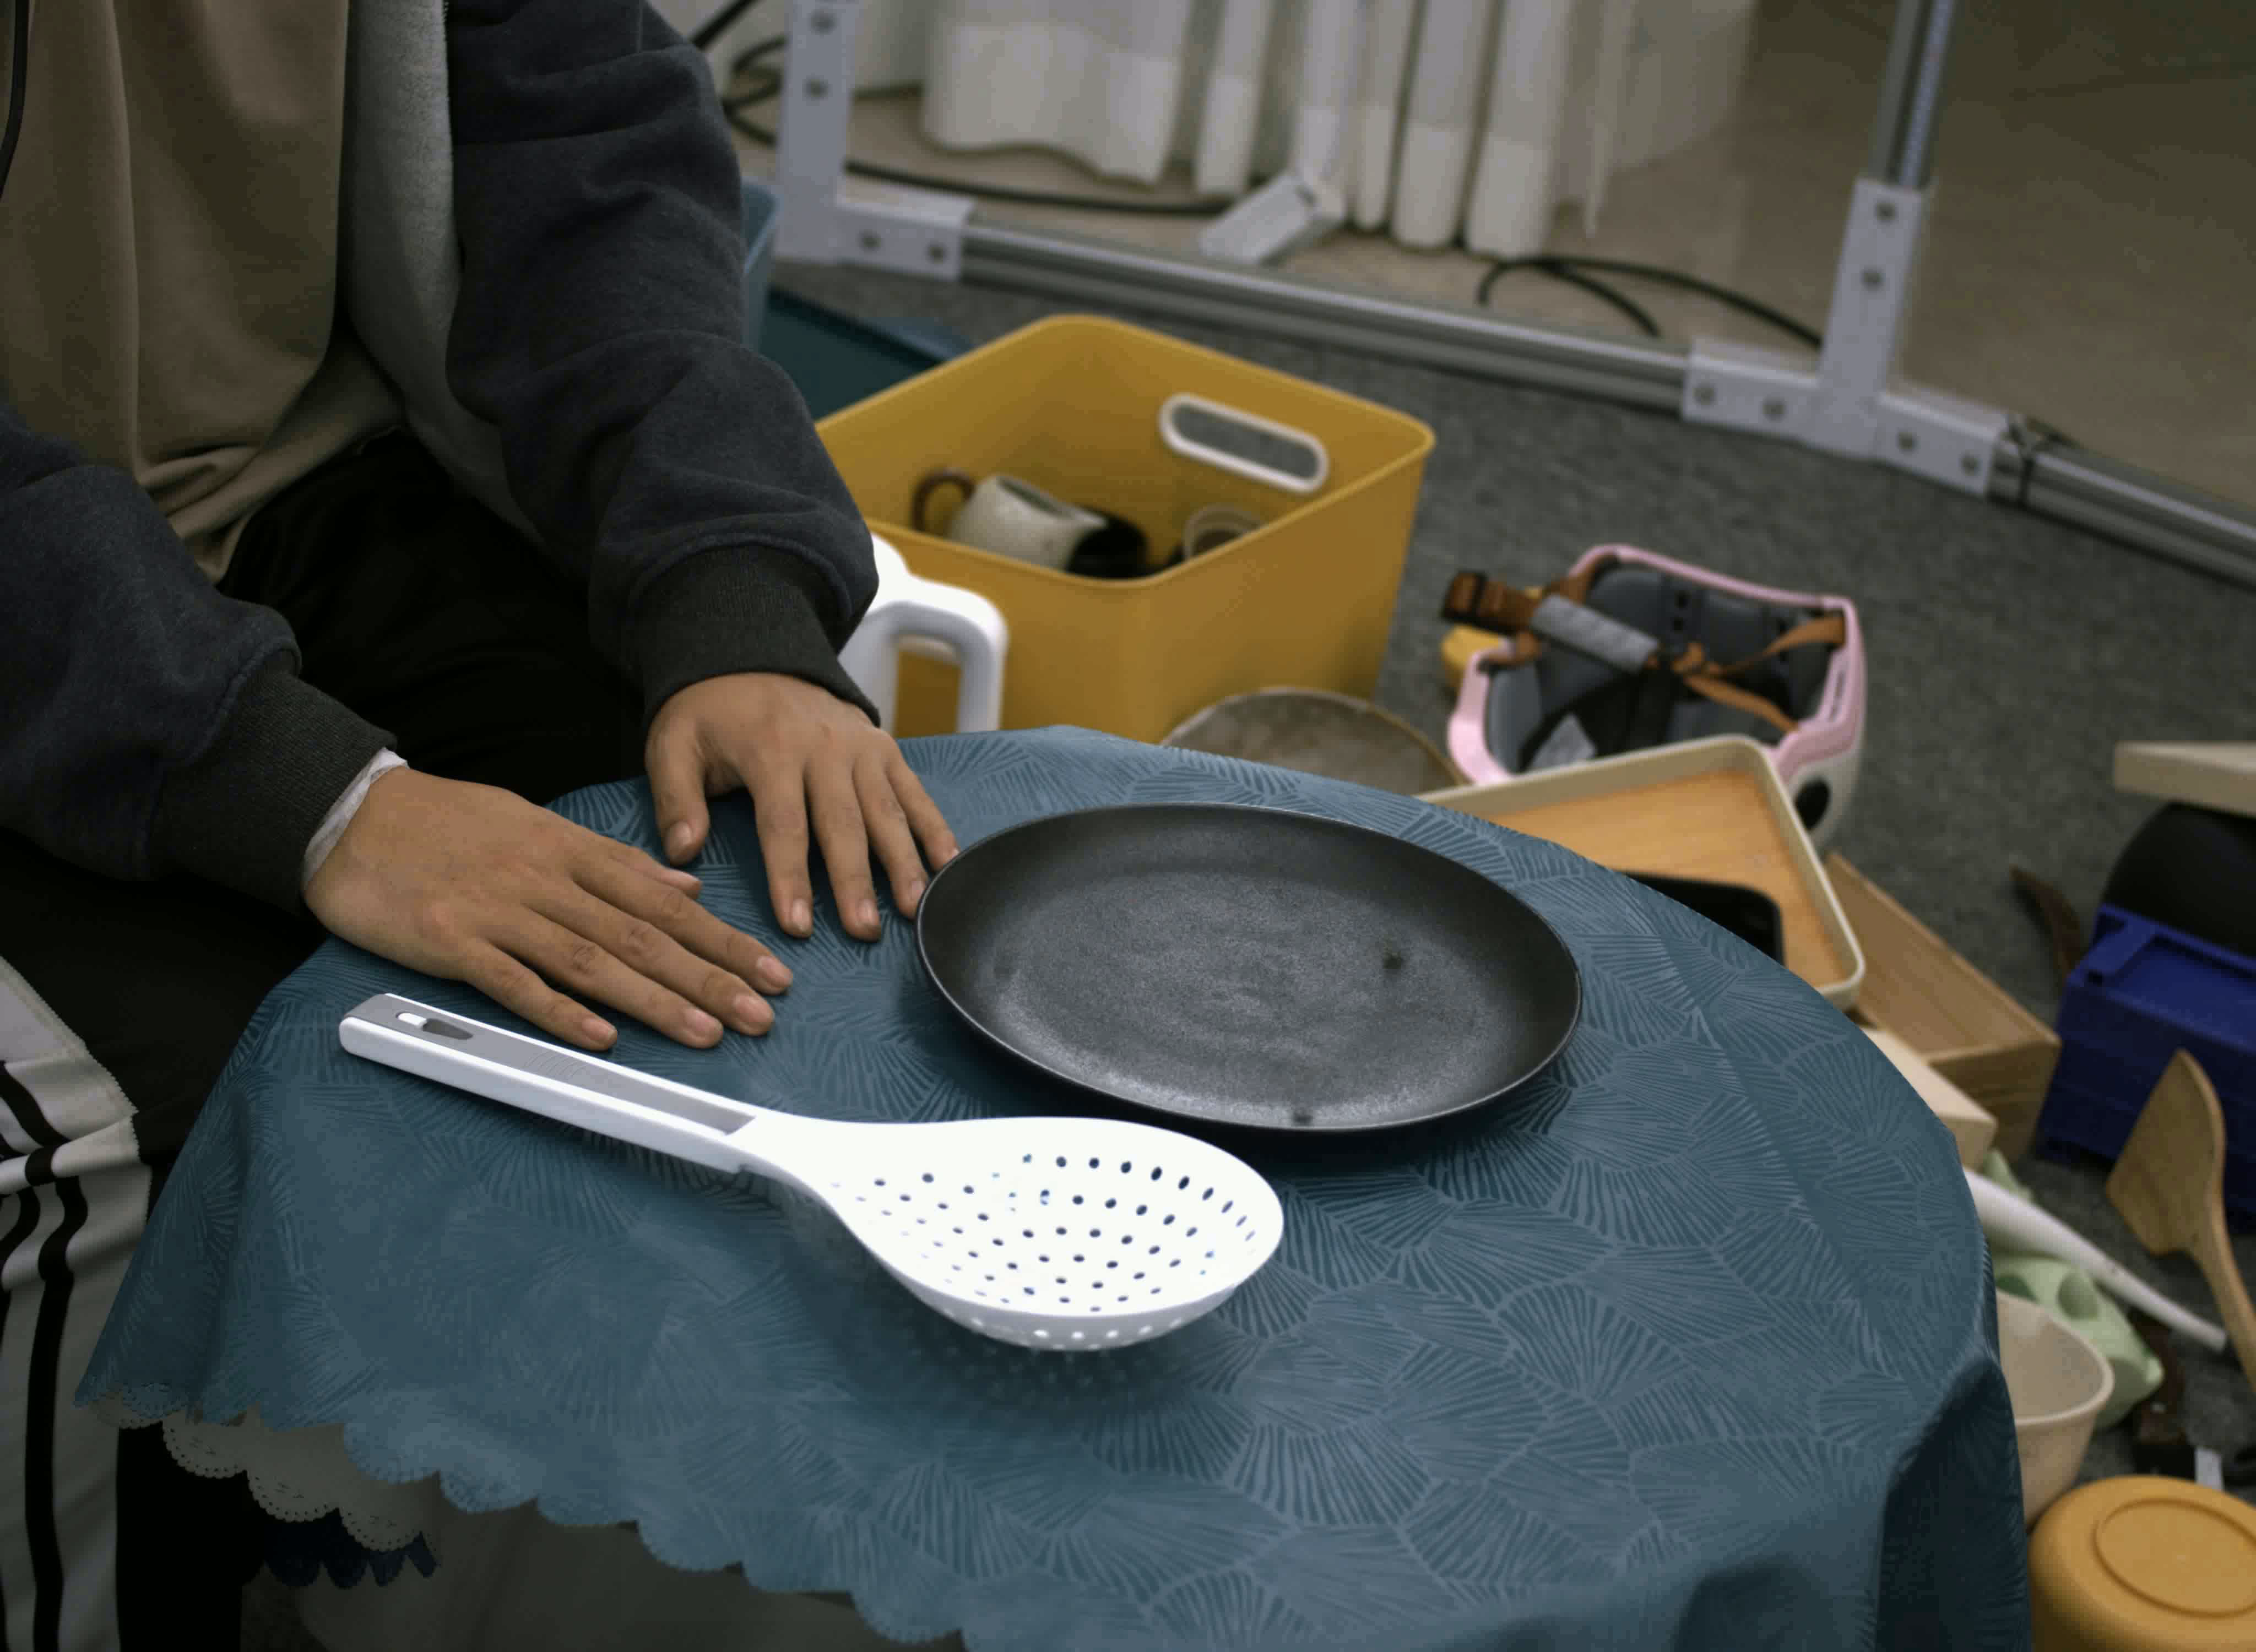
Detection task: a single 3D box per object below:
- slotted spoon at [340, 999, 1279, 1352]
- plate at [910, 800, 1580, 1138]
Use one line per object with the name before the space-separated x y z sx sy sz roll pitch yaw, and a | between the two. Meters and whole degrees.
slotted spoon | -0.114 0.108 1.757 0.351 0.045 0.136 18 27 24
plate | 0.041 0.056 1.919 0.243 0.023 0.246 5 27 -3
